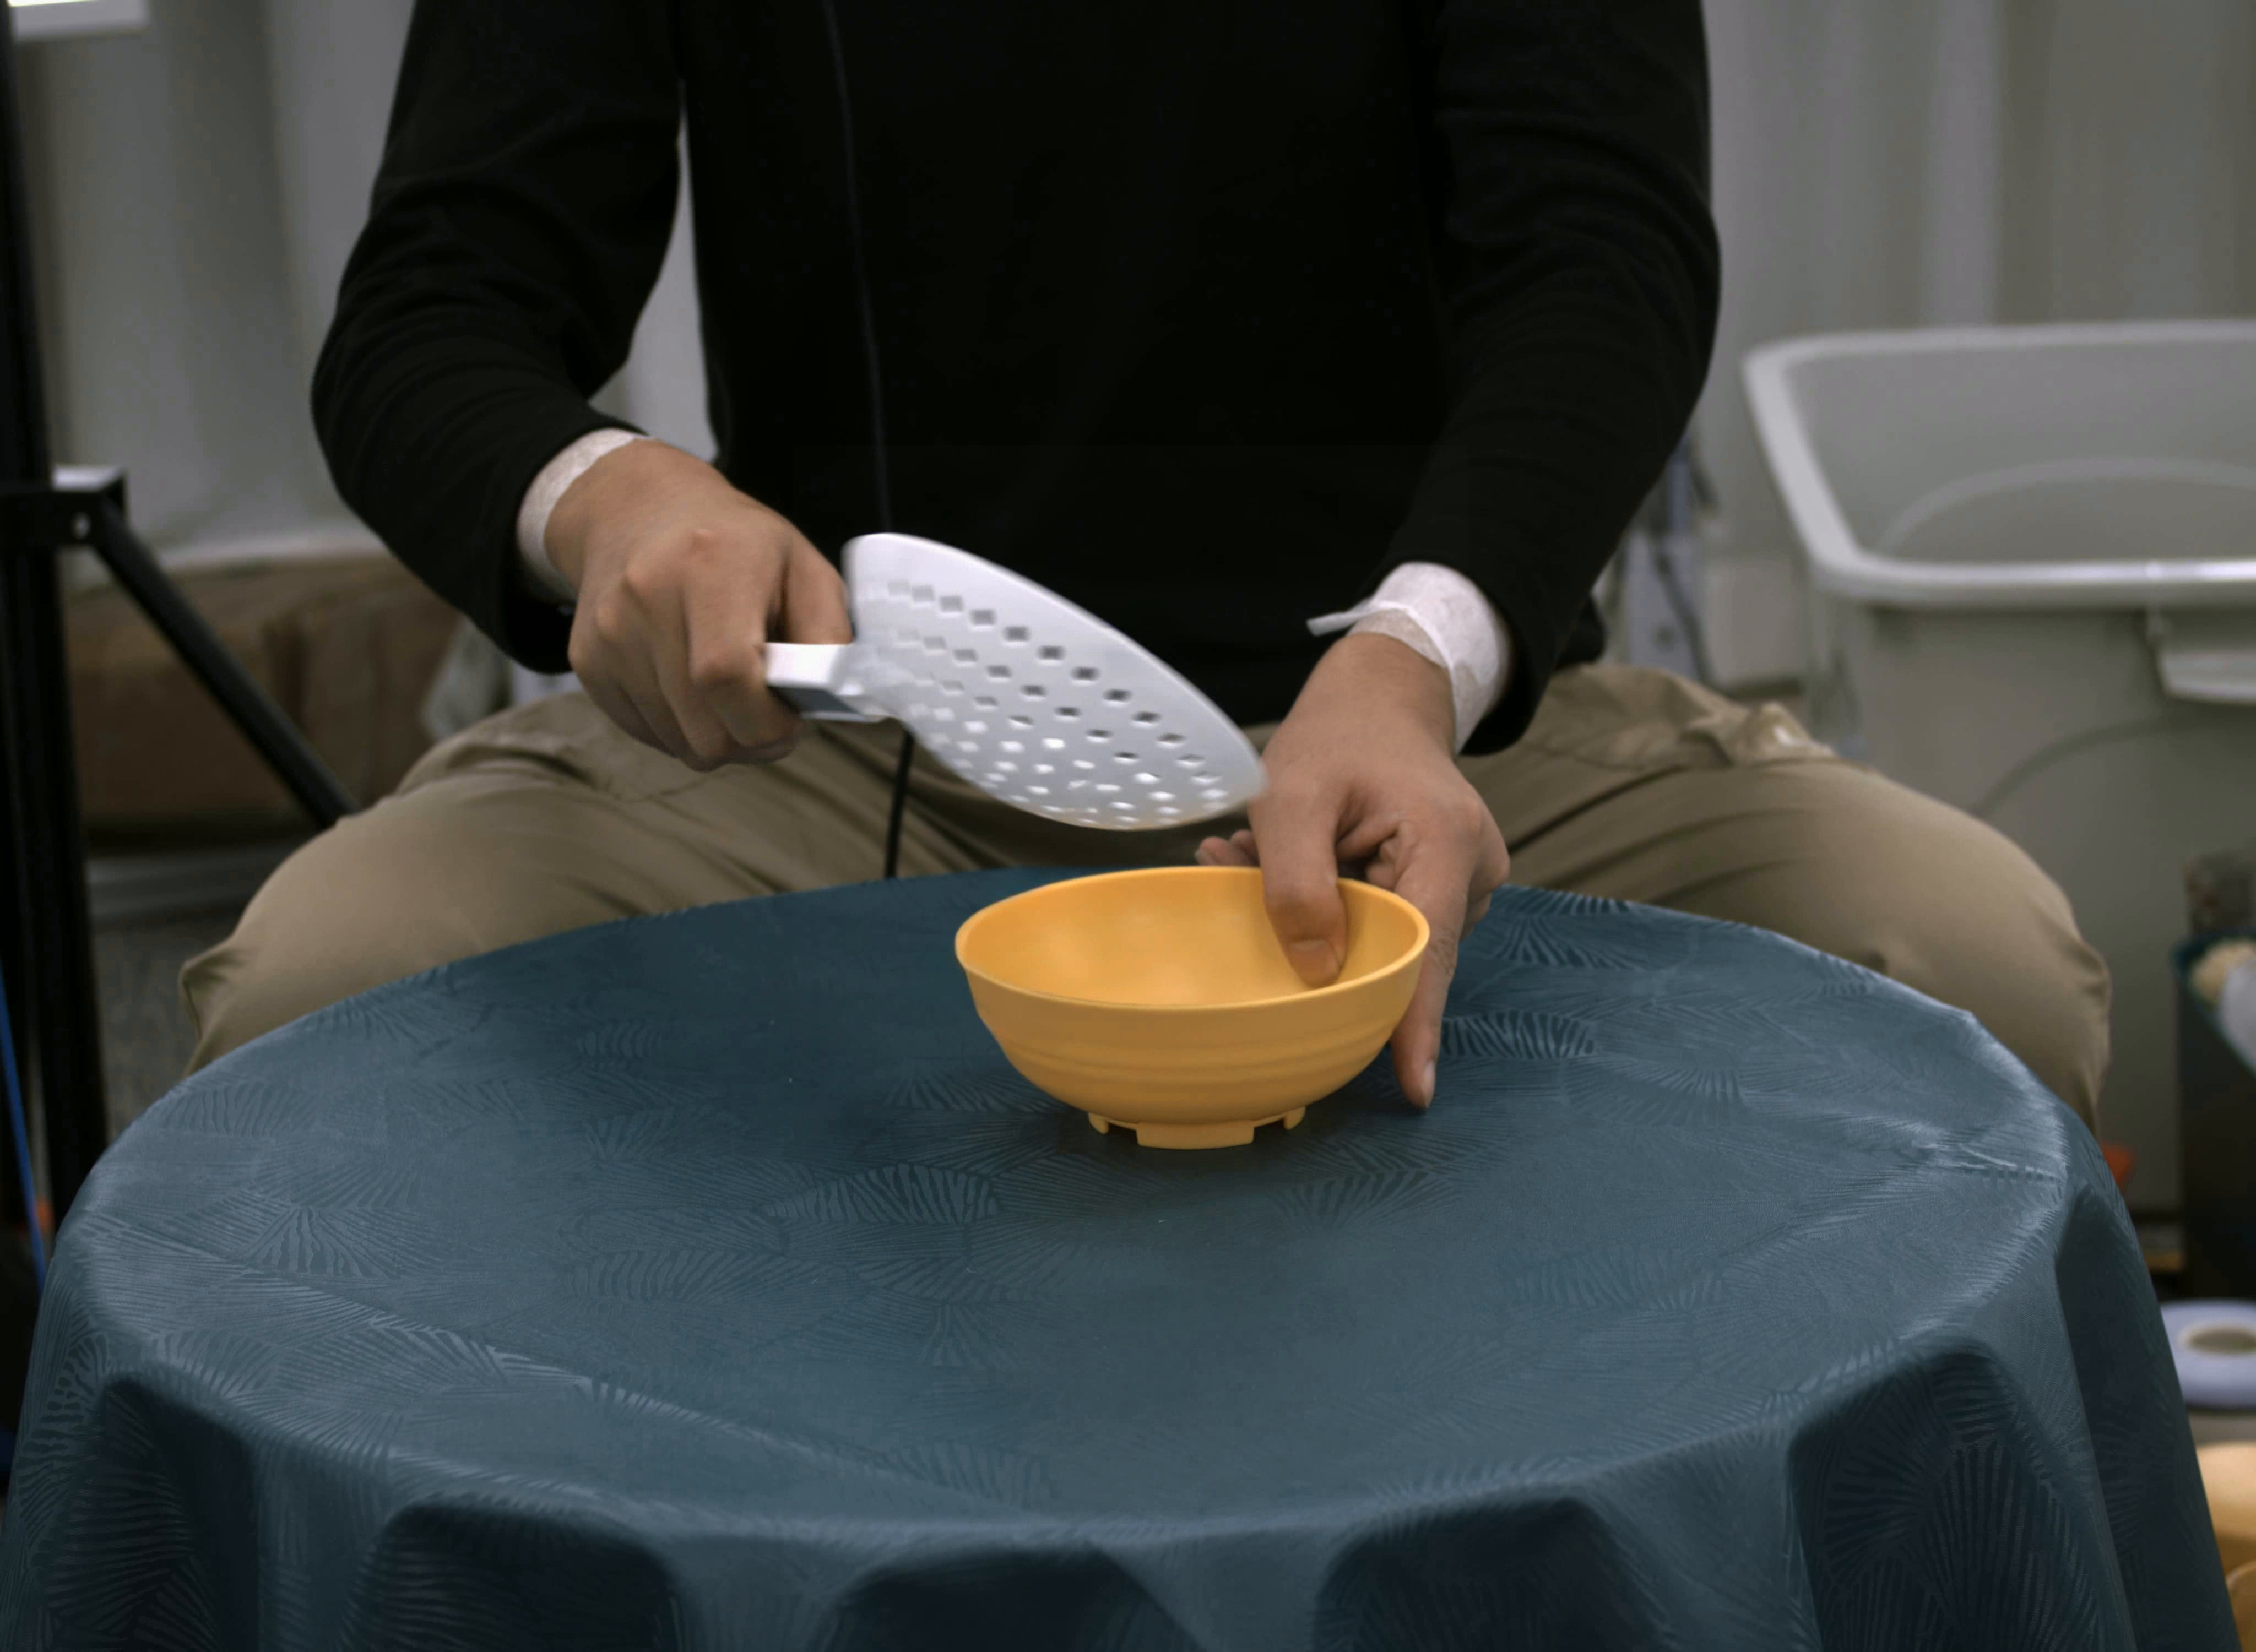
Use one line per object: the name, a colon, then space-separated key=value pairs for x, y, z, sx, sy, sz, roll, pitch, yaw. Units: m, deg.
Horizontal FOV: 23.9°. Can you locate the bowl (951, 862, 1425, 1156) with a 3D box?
bowl: x=0.018 y=0.061 z=1.617 sx=0.144 sy=0.060 sz=0.146 roll=-1 pitch=17 yaw=-1

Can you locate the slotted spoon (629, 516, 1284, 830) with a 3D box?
slotted spoon: x=-0.070 y=-0.044 z=1.612 sx=0.045 sy=0.133 sz=0.356 roll=-55 pitch=25 yaw=-11
